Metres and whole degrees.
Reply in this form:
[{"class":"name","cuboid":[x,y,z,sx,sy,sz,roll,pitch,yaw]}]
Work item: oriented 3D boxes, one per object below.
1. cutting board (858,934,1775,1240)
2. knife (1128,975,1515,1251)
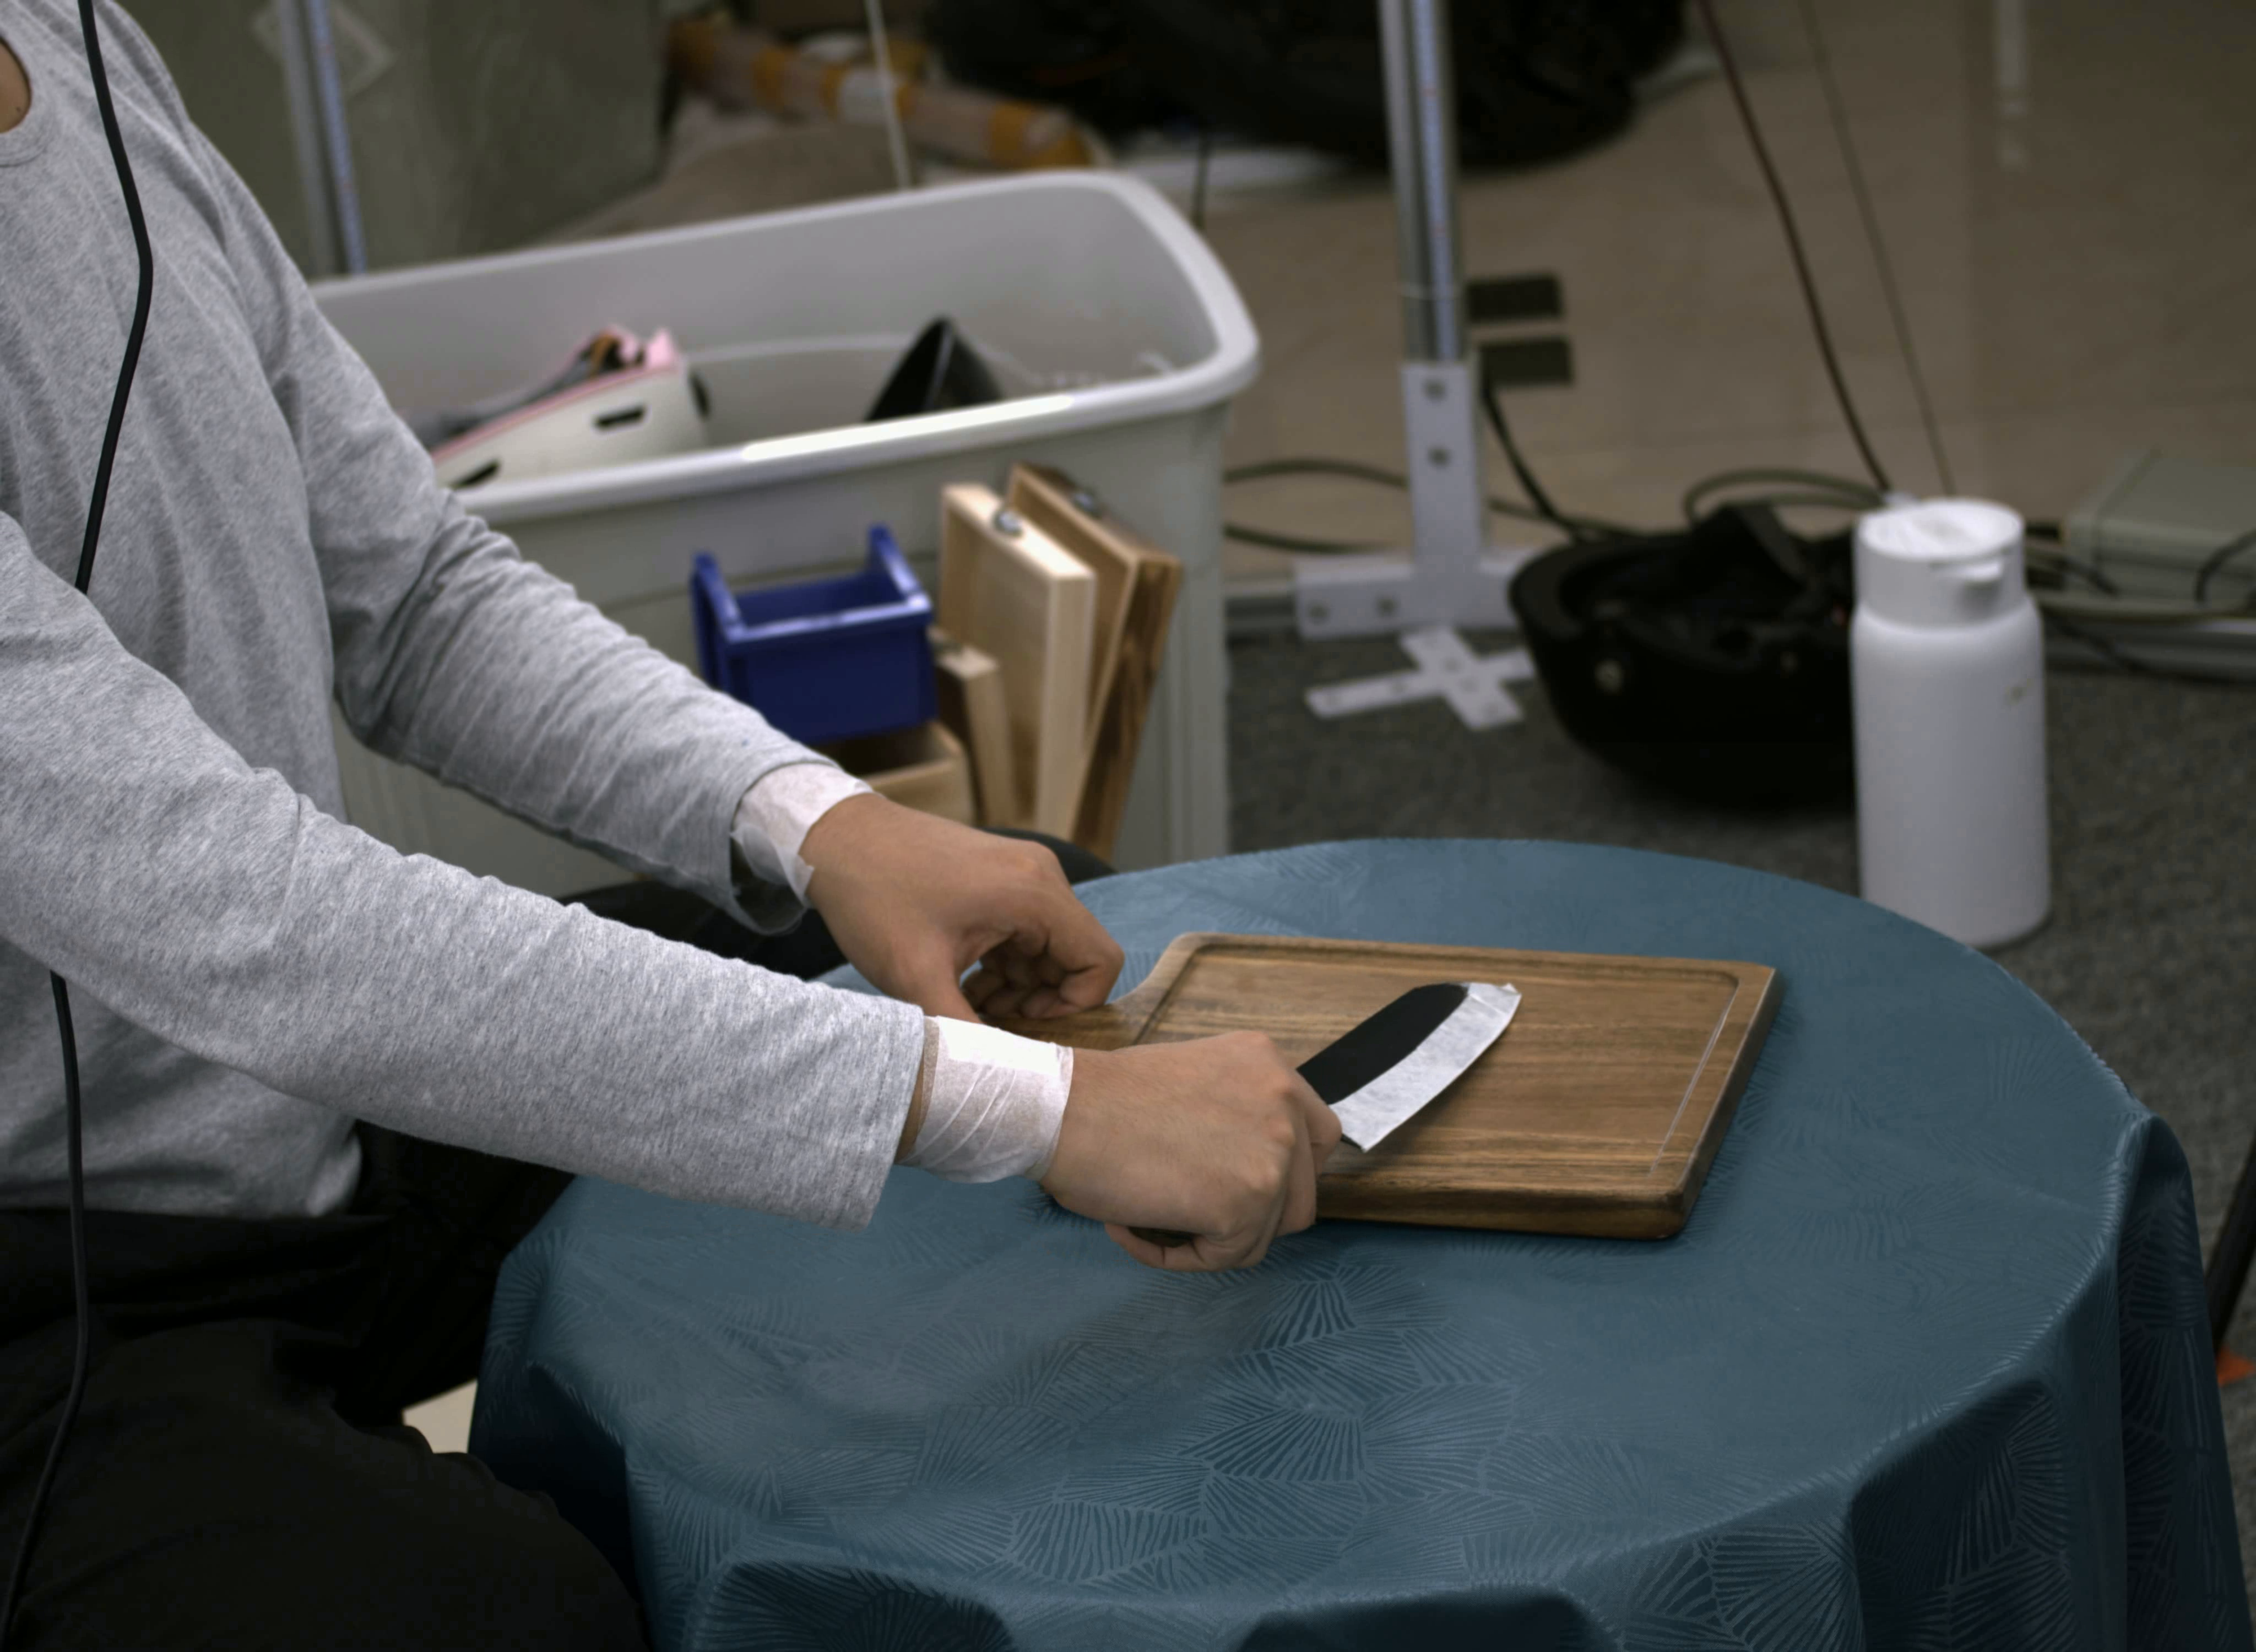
[{"class":"cutting board","cuboid":[0.063,0.095,2.202,0.351,0.023,0.198,3,26,18]},{"class":"knife","cuboid":[0.077,0.102,2.112,0.050,0.020,0.286,35,30,17]}]
